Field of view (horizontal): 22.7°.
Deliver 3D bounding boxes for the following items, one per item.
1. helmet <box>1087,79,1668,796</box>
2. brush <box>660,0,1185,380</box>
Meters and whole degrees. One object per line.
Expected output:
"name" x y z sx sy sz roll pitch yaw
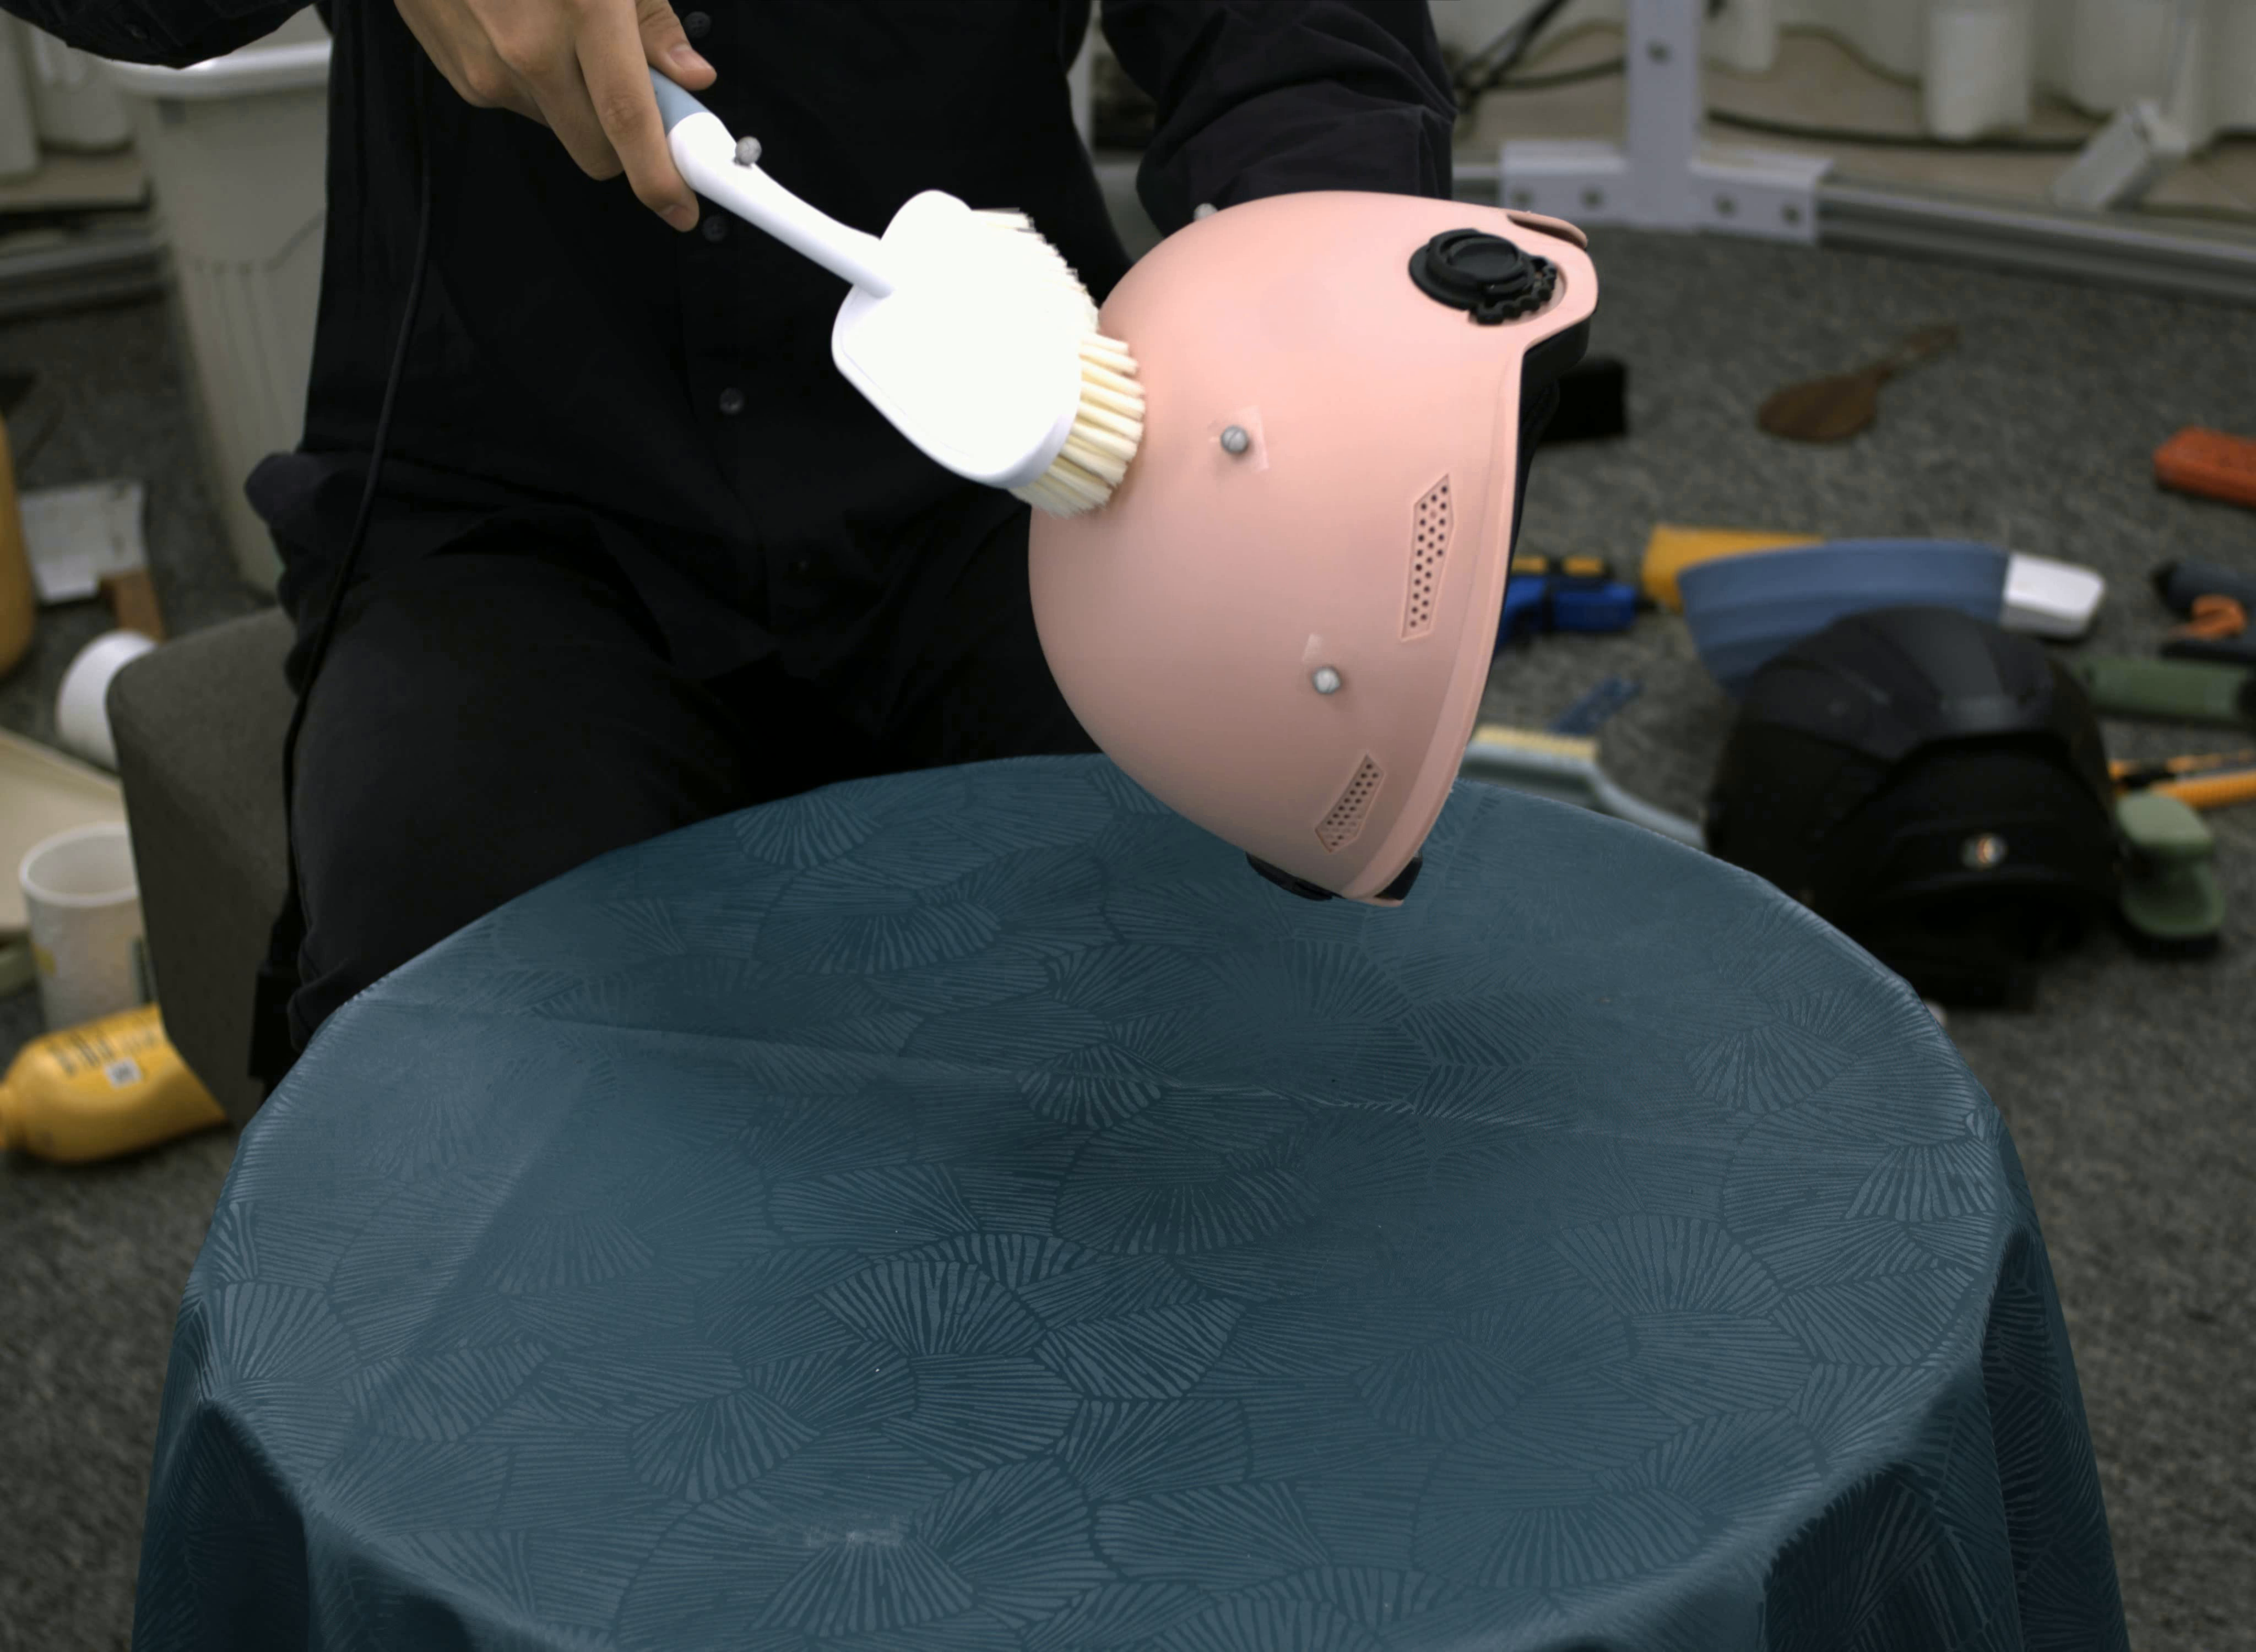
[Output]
"helmet" 0.069 -0.138 1.839 0.158 0.231 0.269 16 23 -6
"brush" -0.084 -0.247 1.855 0.083 0.083 0.327 -38 56 -15
